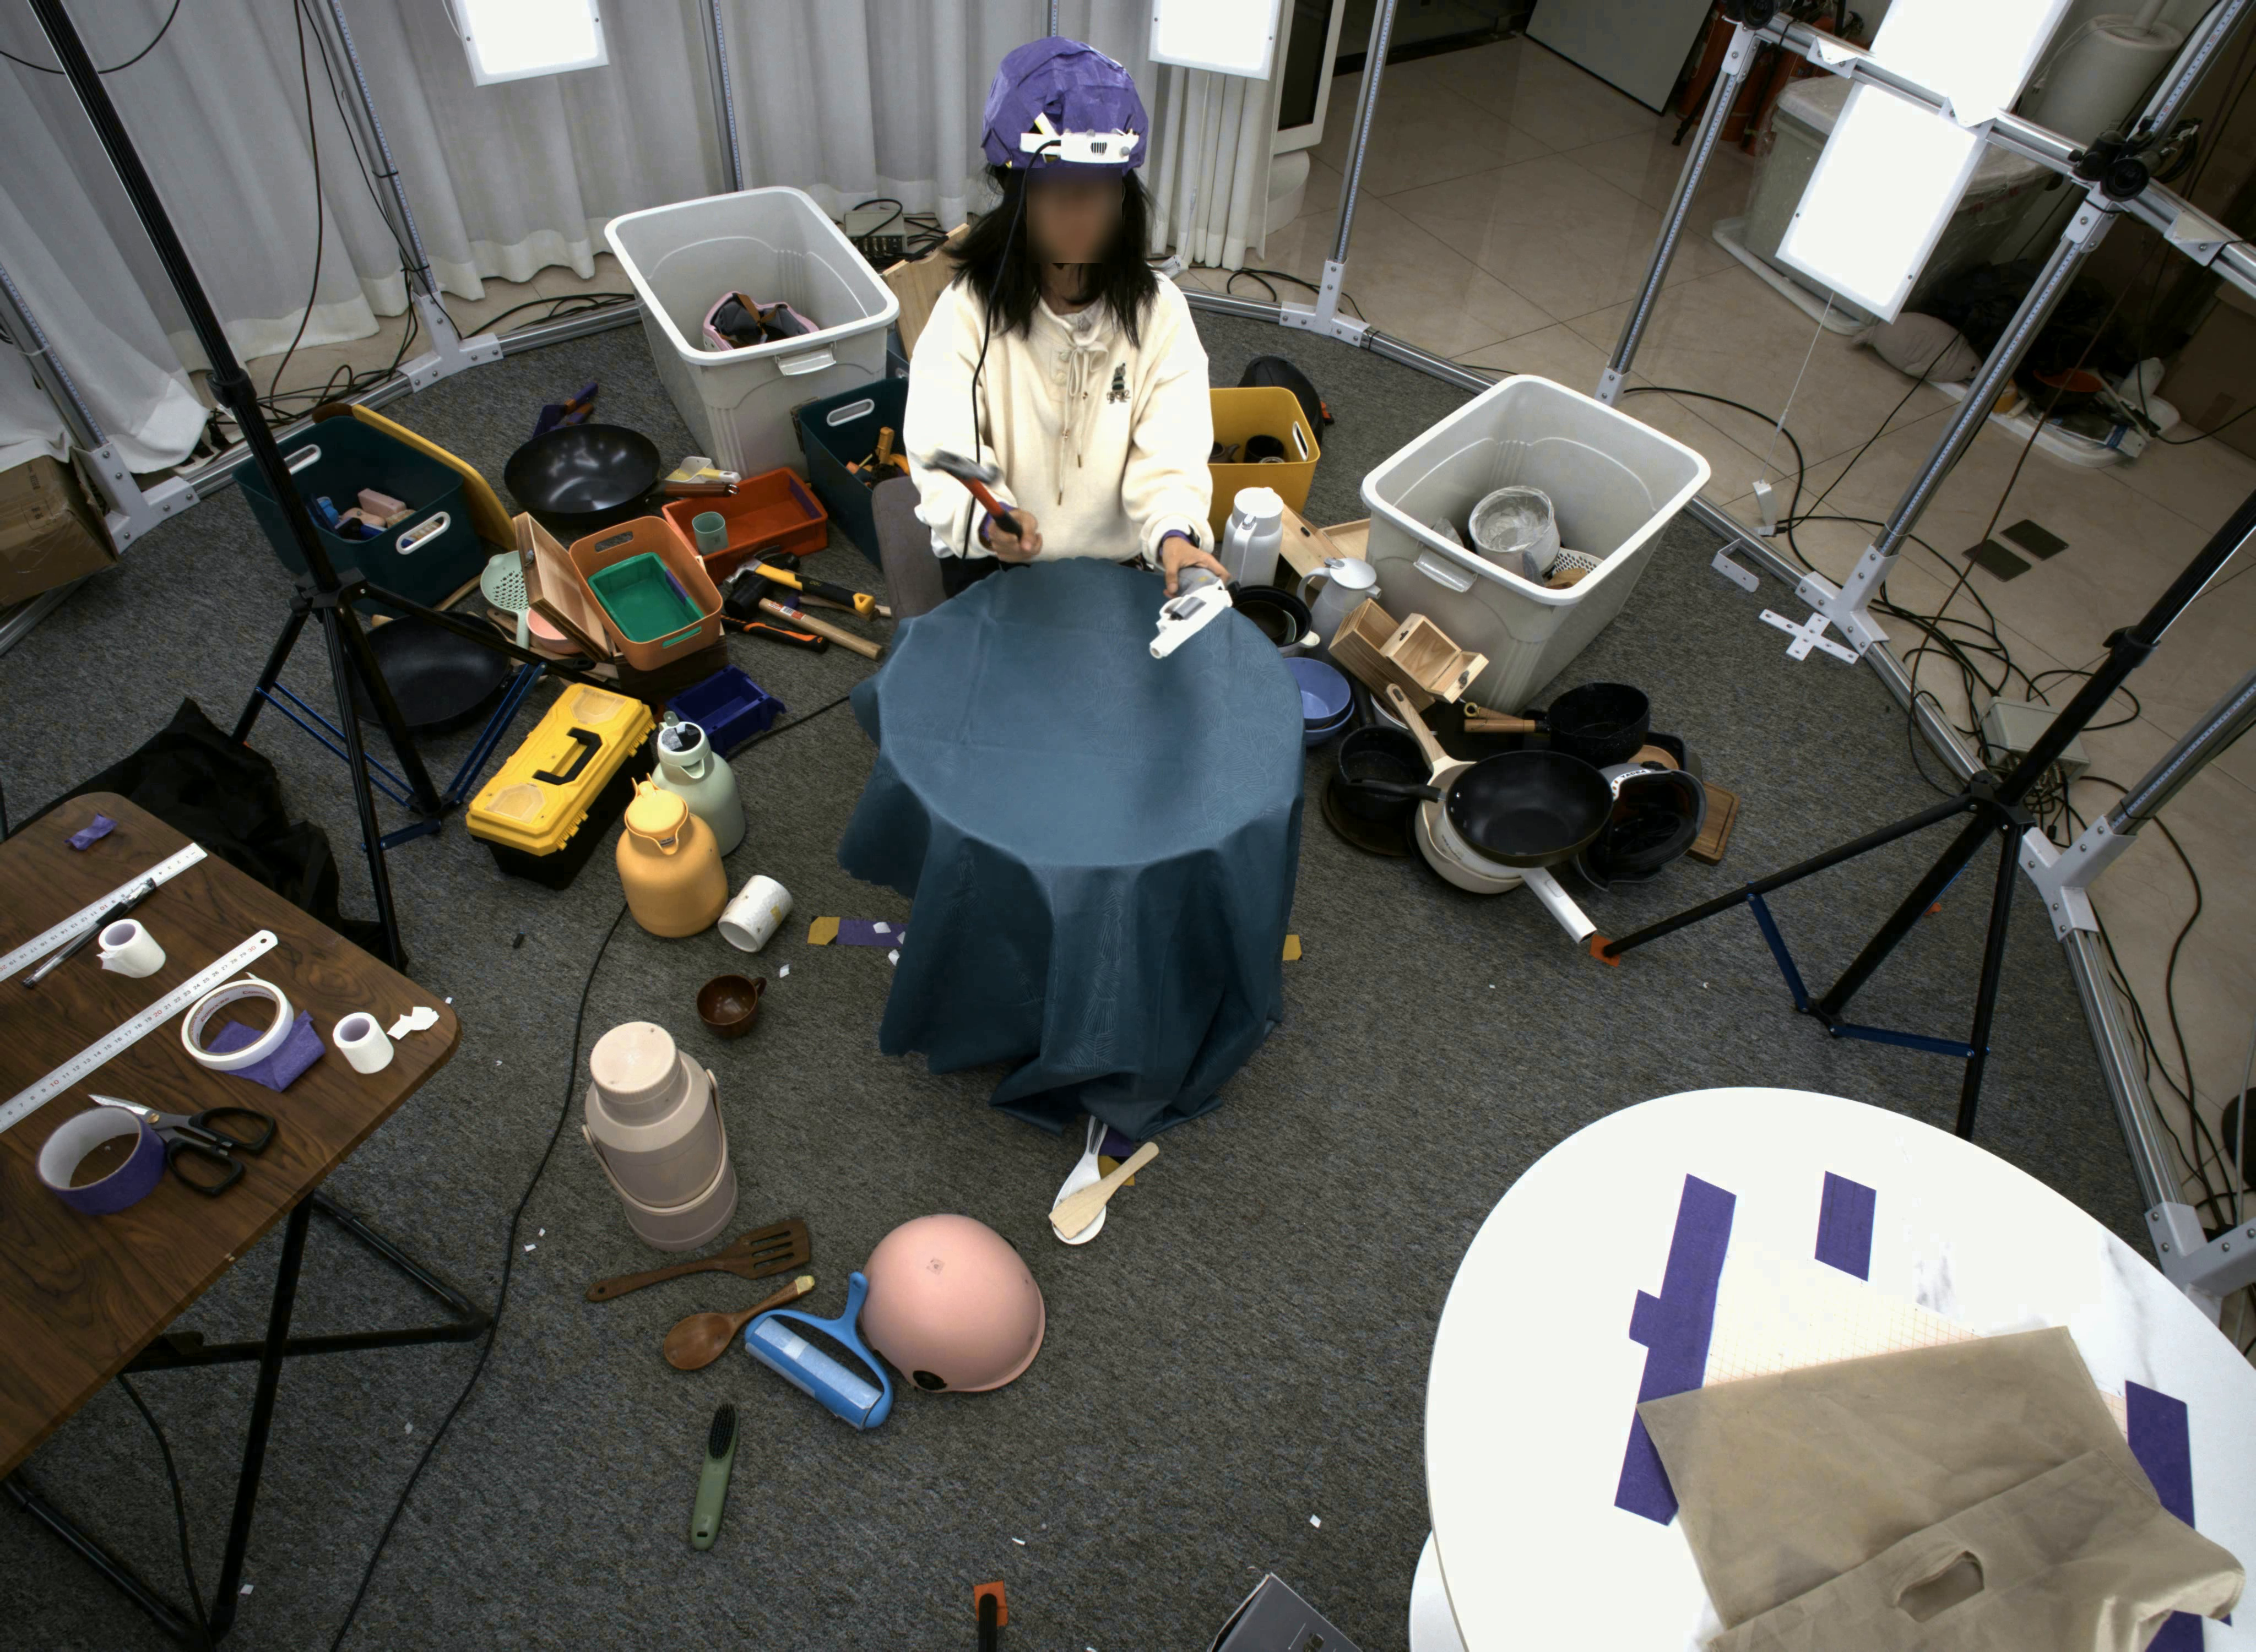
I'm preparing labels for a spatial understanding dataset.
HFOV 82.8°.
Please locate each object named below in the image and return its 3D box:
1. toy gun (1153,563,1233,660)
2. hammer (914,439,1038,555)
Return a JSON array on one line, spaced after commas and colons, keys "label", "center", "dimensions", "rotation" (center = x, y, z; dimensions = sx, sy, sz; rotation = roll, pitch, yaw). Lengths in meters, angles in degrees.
[{"label": "toy gun", "center": [0.070, -0.289, 1.714], "dimensions": [0.143, 0.038, 0.211], "rotation": [11, 45, 44]}, {"label": "hammer", "center": [-0.180, -0.417, 1.658], "dimensions": [0.111, 0.273, 0.026], "rotation": [11, 80, 21]}]
